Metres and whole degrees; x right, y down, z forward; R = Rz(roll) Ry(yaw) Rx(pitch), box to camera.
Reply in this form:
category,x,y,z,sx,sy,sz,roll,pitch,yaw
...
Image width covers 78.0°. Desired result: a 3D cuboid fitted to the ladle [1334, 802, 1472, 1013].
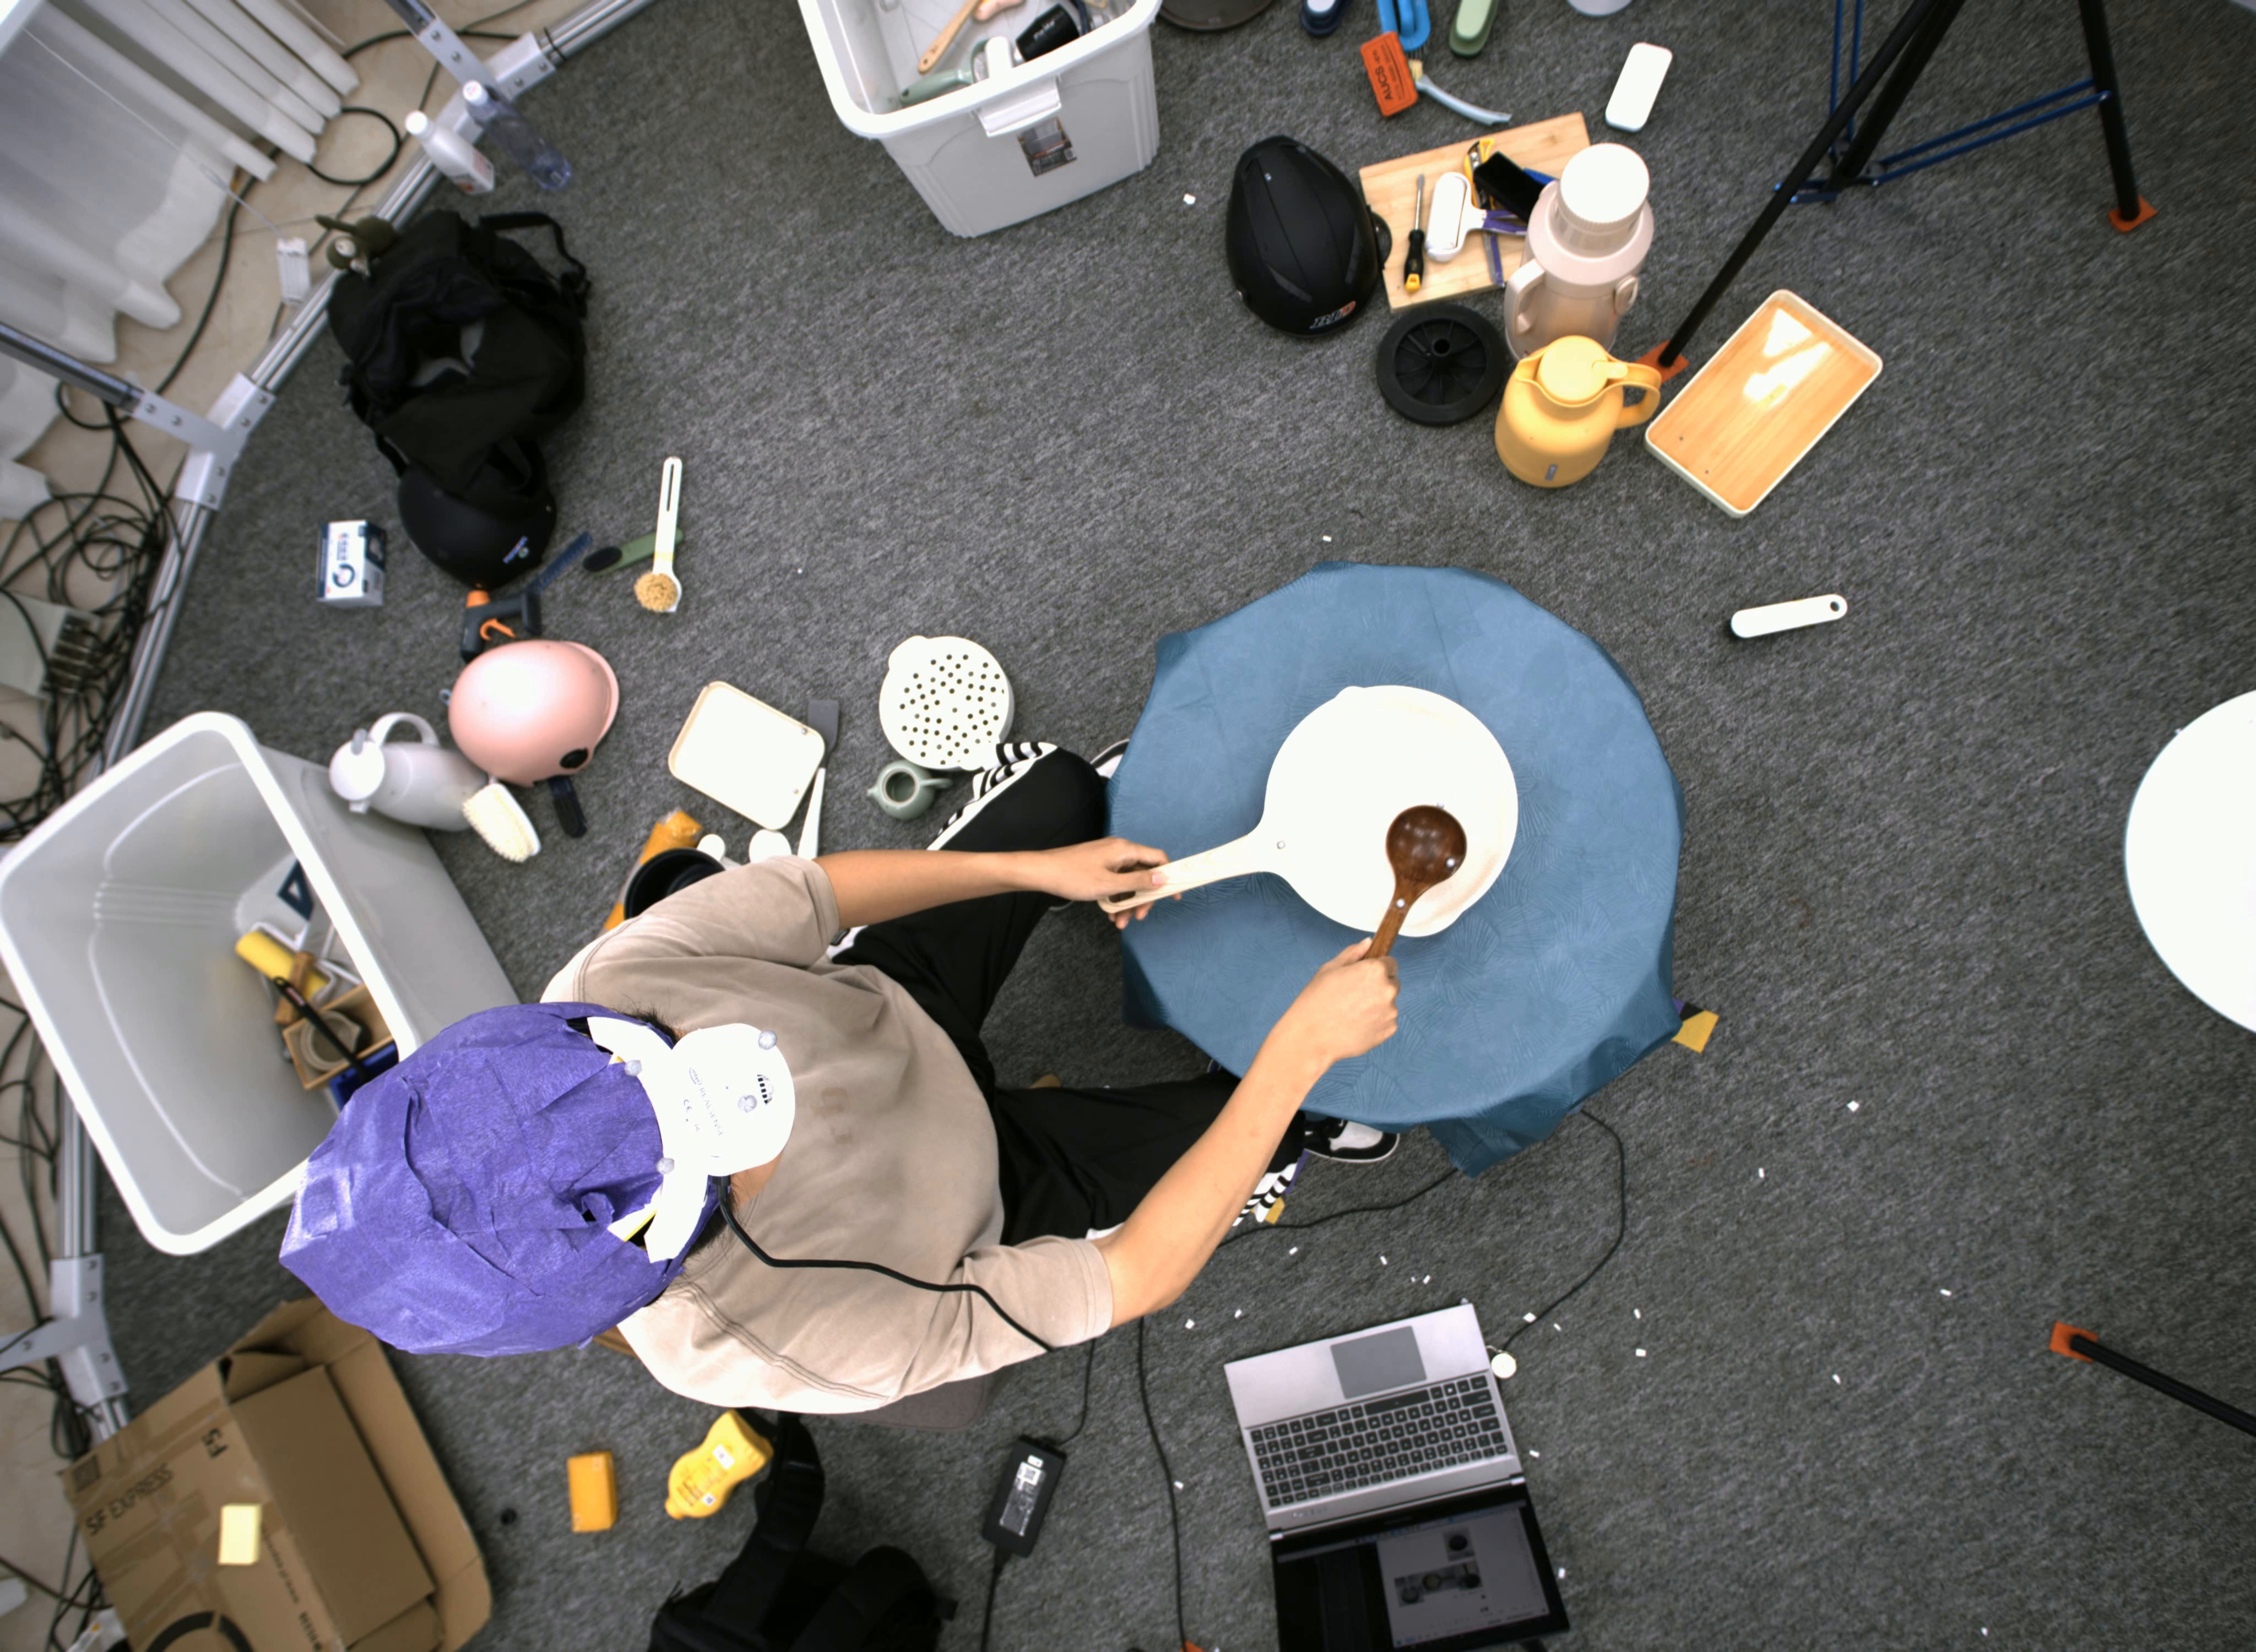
category,x,y,z,sx,sy,sz,roll,pitch,yaw
ladle,0.257,0.068,1.303,0.082,0.267,0.078,17,128,21

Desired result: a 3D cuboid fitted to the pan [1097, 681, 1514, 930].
category,x,y,z,sx,sy,sz,roll,pitch,yaw
pan,0.180,0.010,1.432,0.437,0.102,0.262,-19,85,9
